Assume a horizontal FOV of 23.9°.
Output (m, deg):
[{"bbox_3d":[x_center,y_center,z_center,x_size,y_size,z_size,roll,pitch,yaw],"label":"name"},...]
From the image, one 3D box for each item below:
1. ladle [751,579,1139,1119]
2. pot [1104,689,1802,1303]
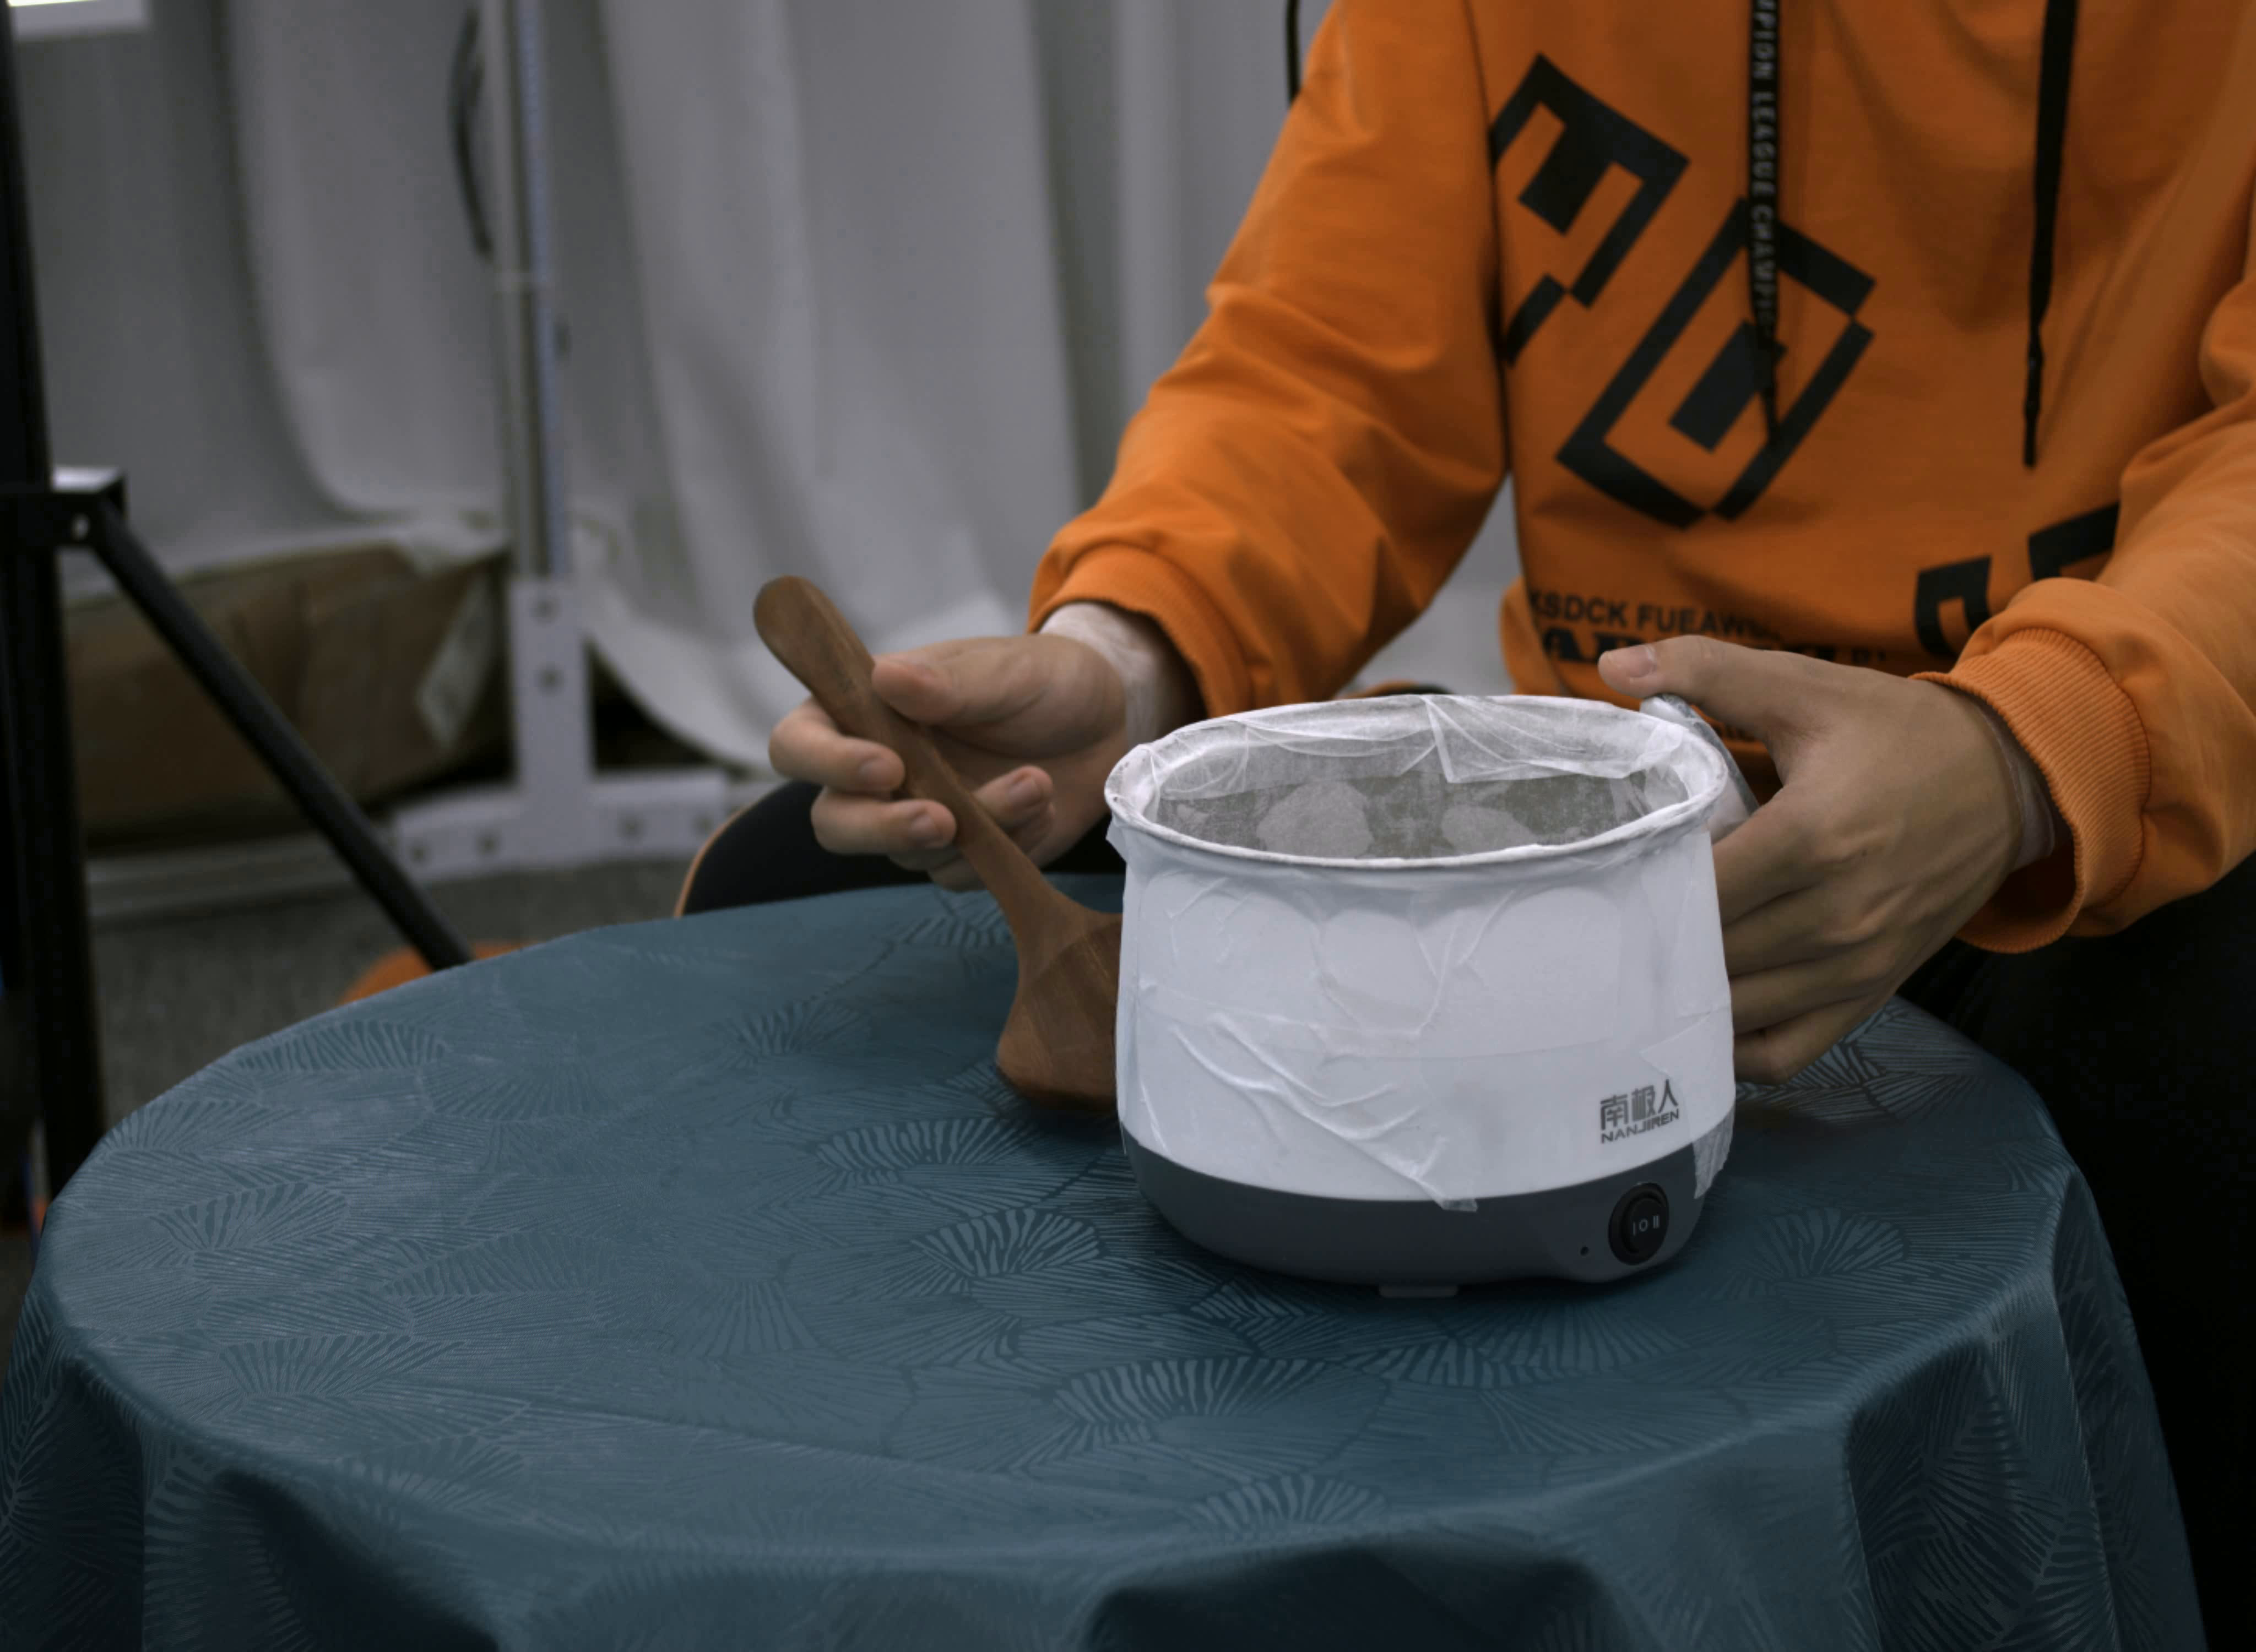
[{"bbox_3d":[-0.060,-0.005,1.682,0.076,0.064,0.266,-38,55,0],"label":"ladle"},{"bbox_3d":[0.104,0.041,1.525,0.228,0.136,0.183,-15,21,-38],"label":"pot"}]
